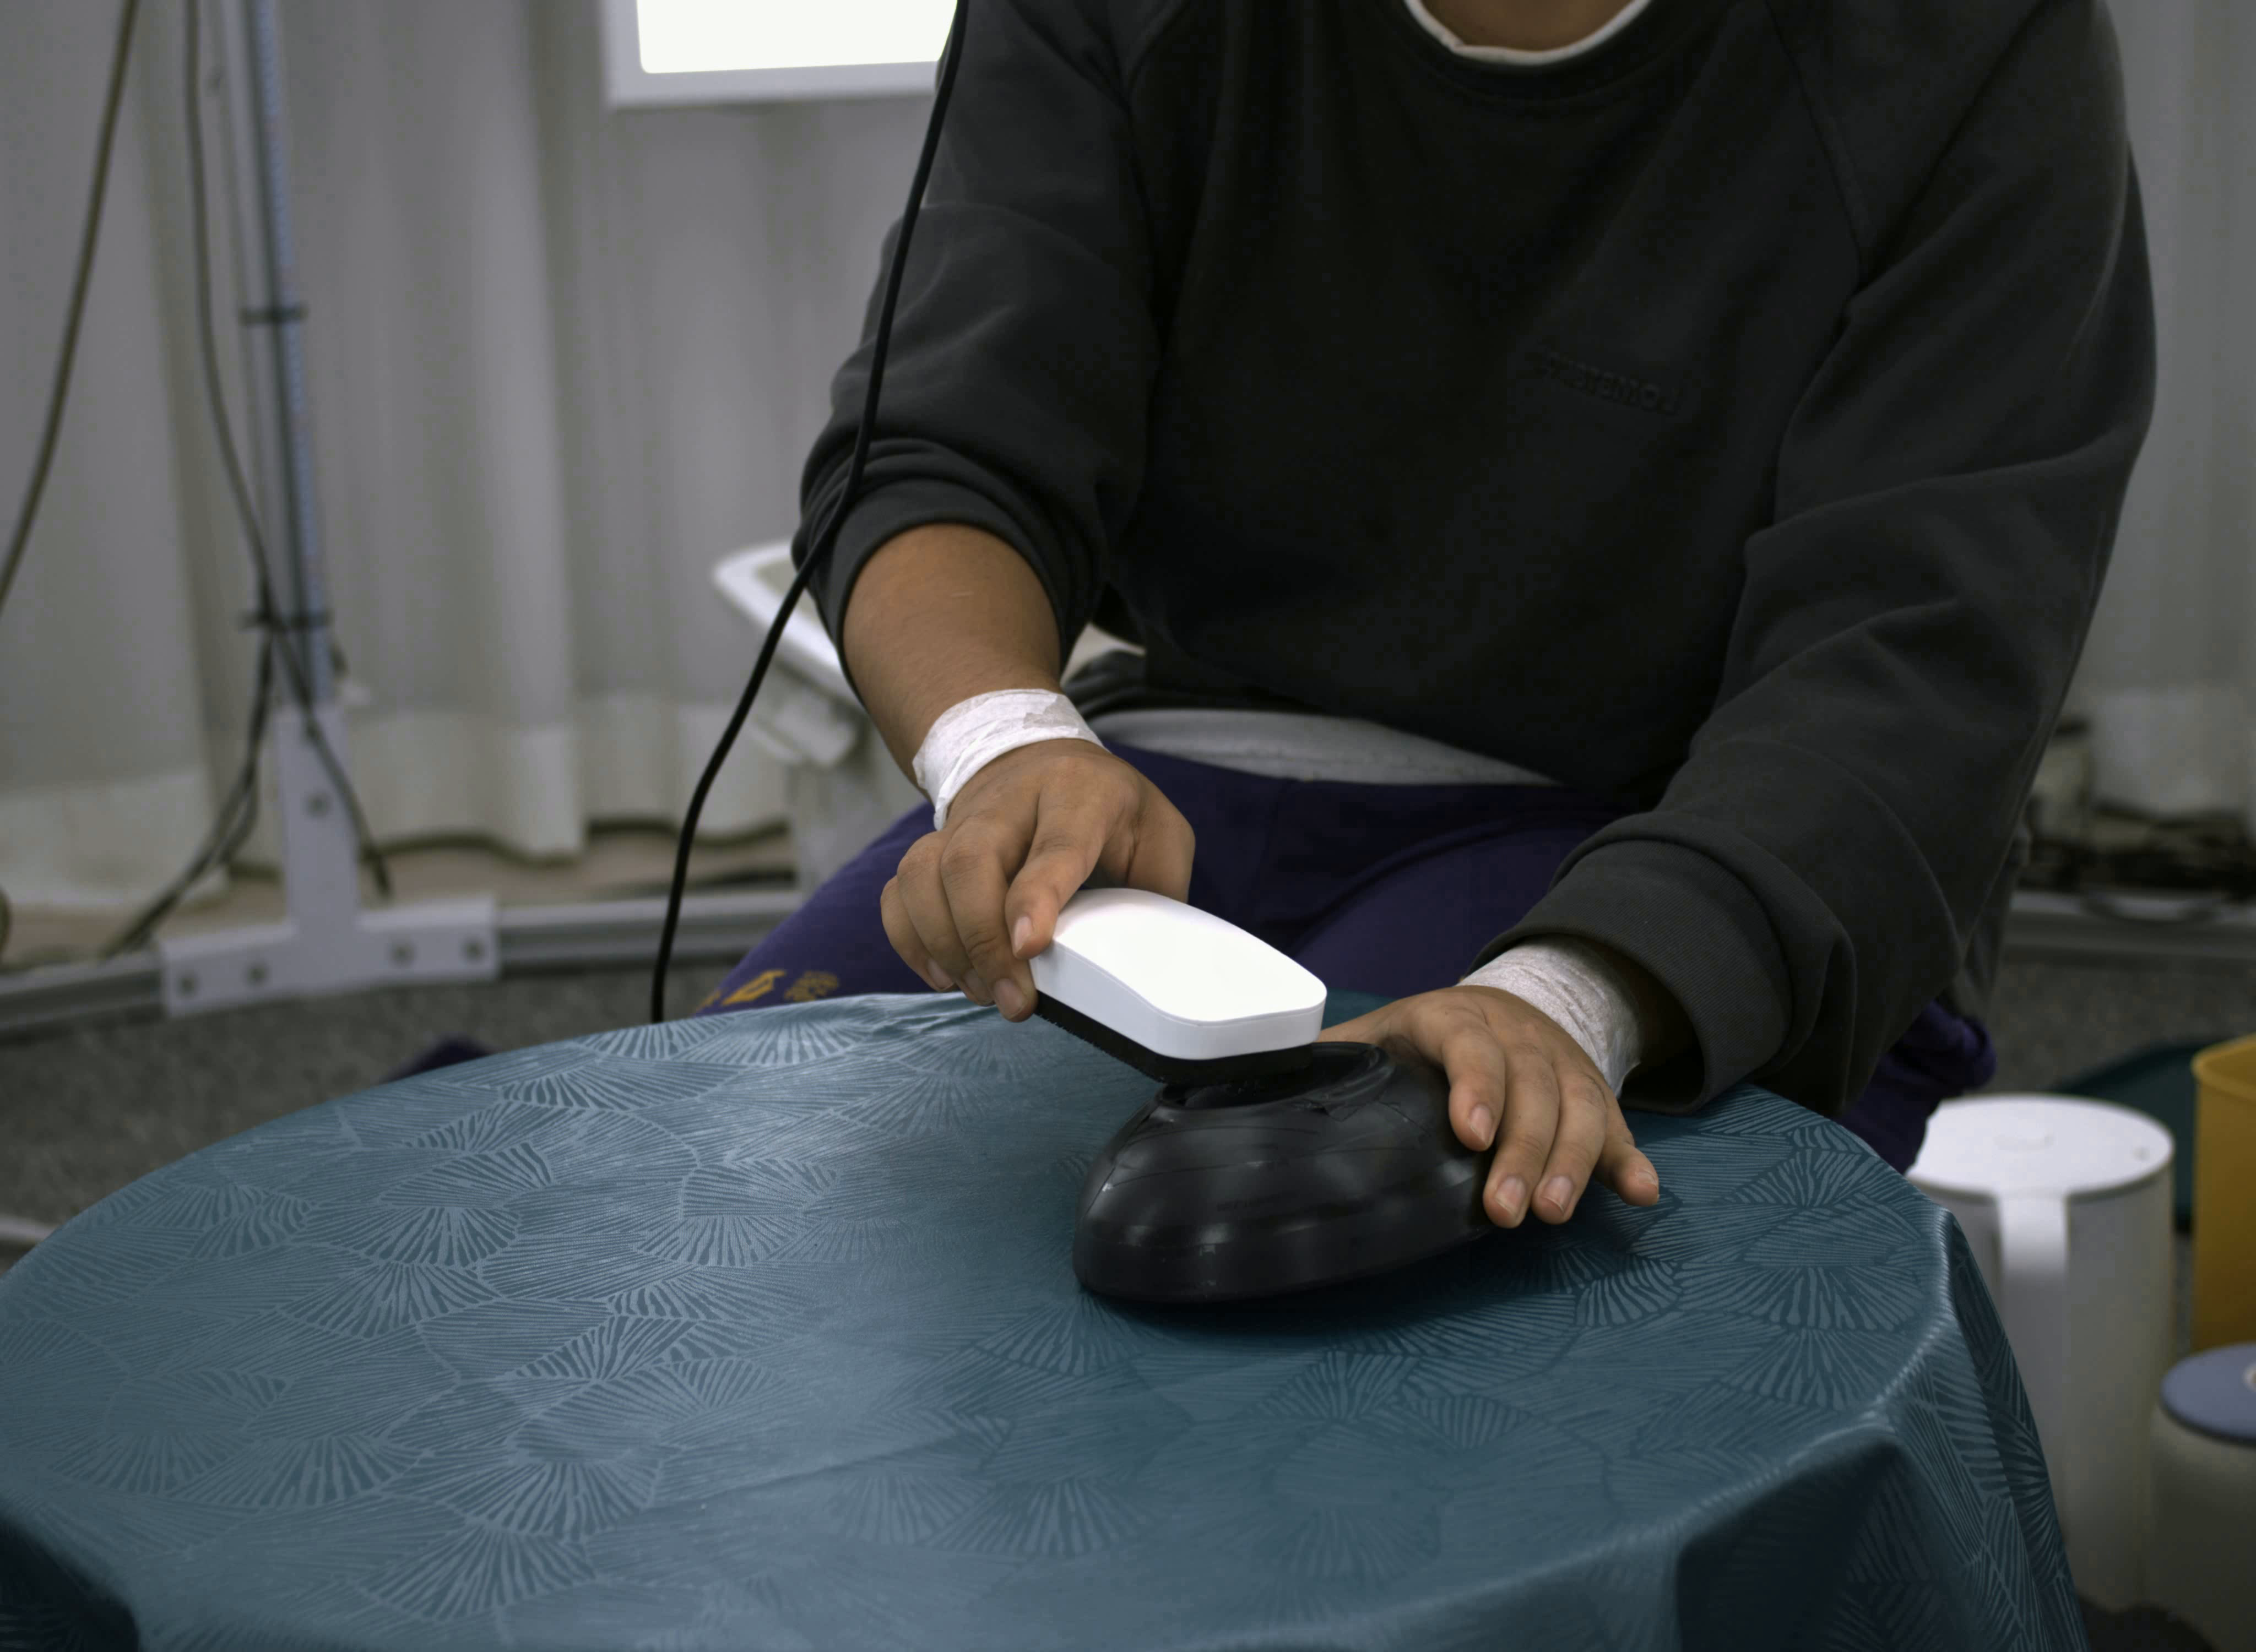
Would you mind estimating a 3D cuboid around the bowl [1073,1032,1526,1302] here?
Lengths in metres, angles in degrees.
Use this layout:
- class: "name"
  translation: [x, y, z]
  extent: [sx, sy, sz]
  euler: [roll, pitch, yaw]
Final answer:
- class: "bowl"
  translation: [0.047, 0.096, 1.638]
  extent: [0.139, 0.049, 0.141]
  euler: [-13, 12, 2]

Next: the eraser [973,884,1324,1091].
- class: "eraser"
  translation: [0.006, 0.045, 1.678]
  extent: [0.063, 0.034, 0.132]
  euler: [-5, 19, -31]
